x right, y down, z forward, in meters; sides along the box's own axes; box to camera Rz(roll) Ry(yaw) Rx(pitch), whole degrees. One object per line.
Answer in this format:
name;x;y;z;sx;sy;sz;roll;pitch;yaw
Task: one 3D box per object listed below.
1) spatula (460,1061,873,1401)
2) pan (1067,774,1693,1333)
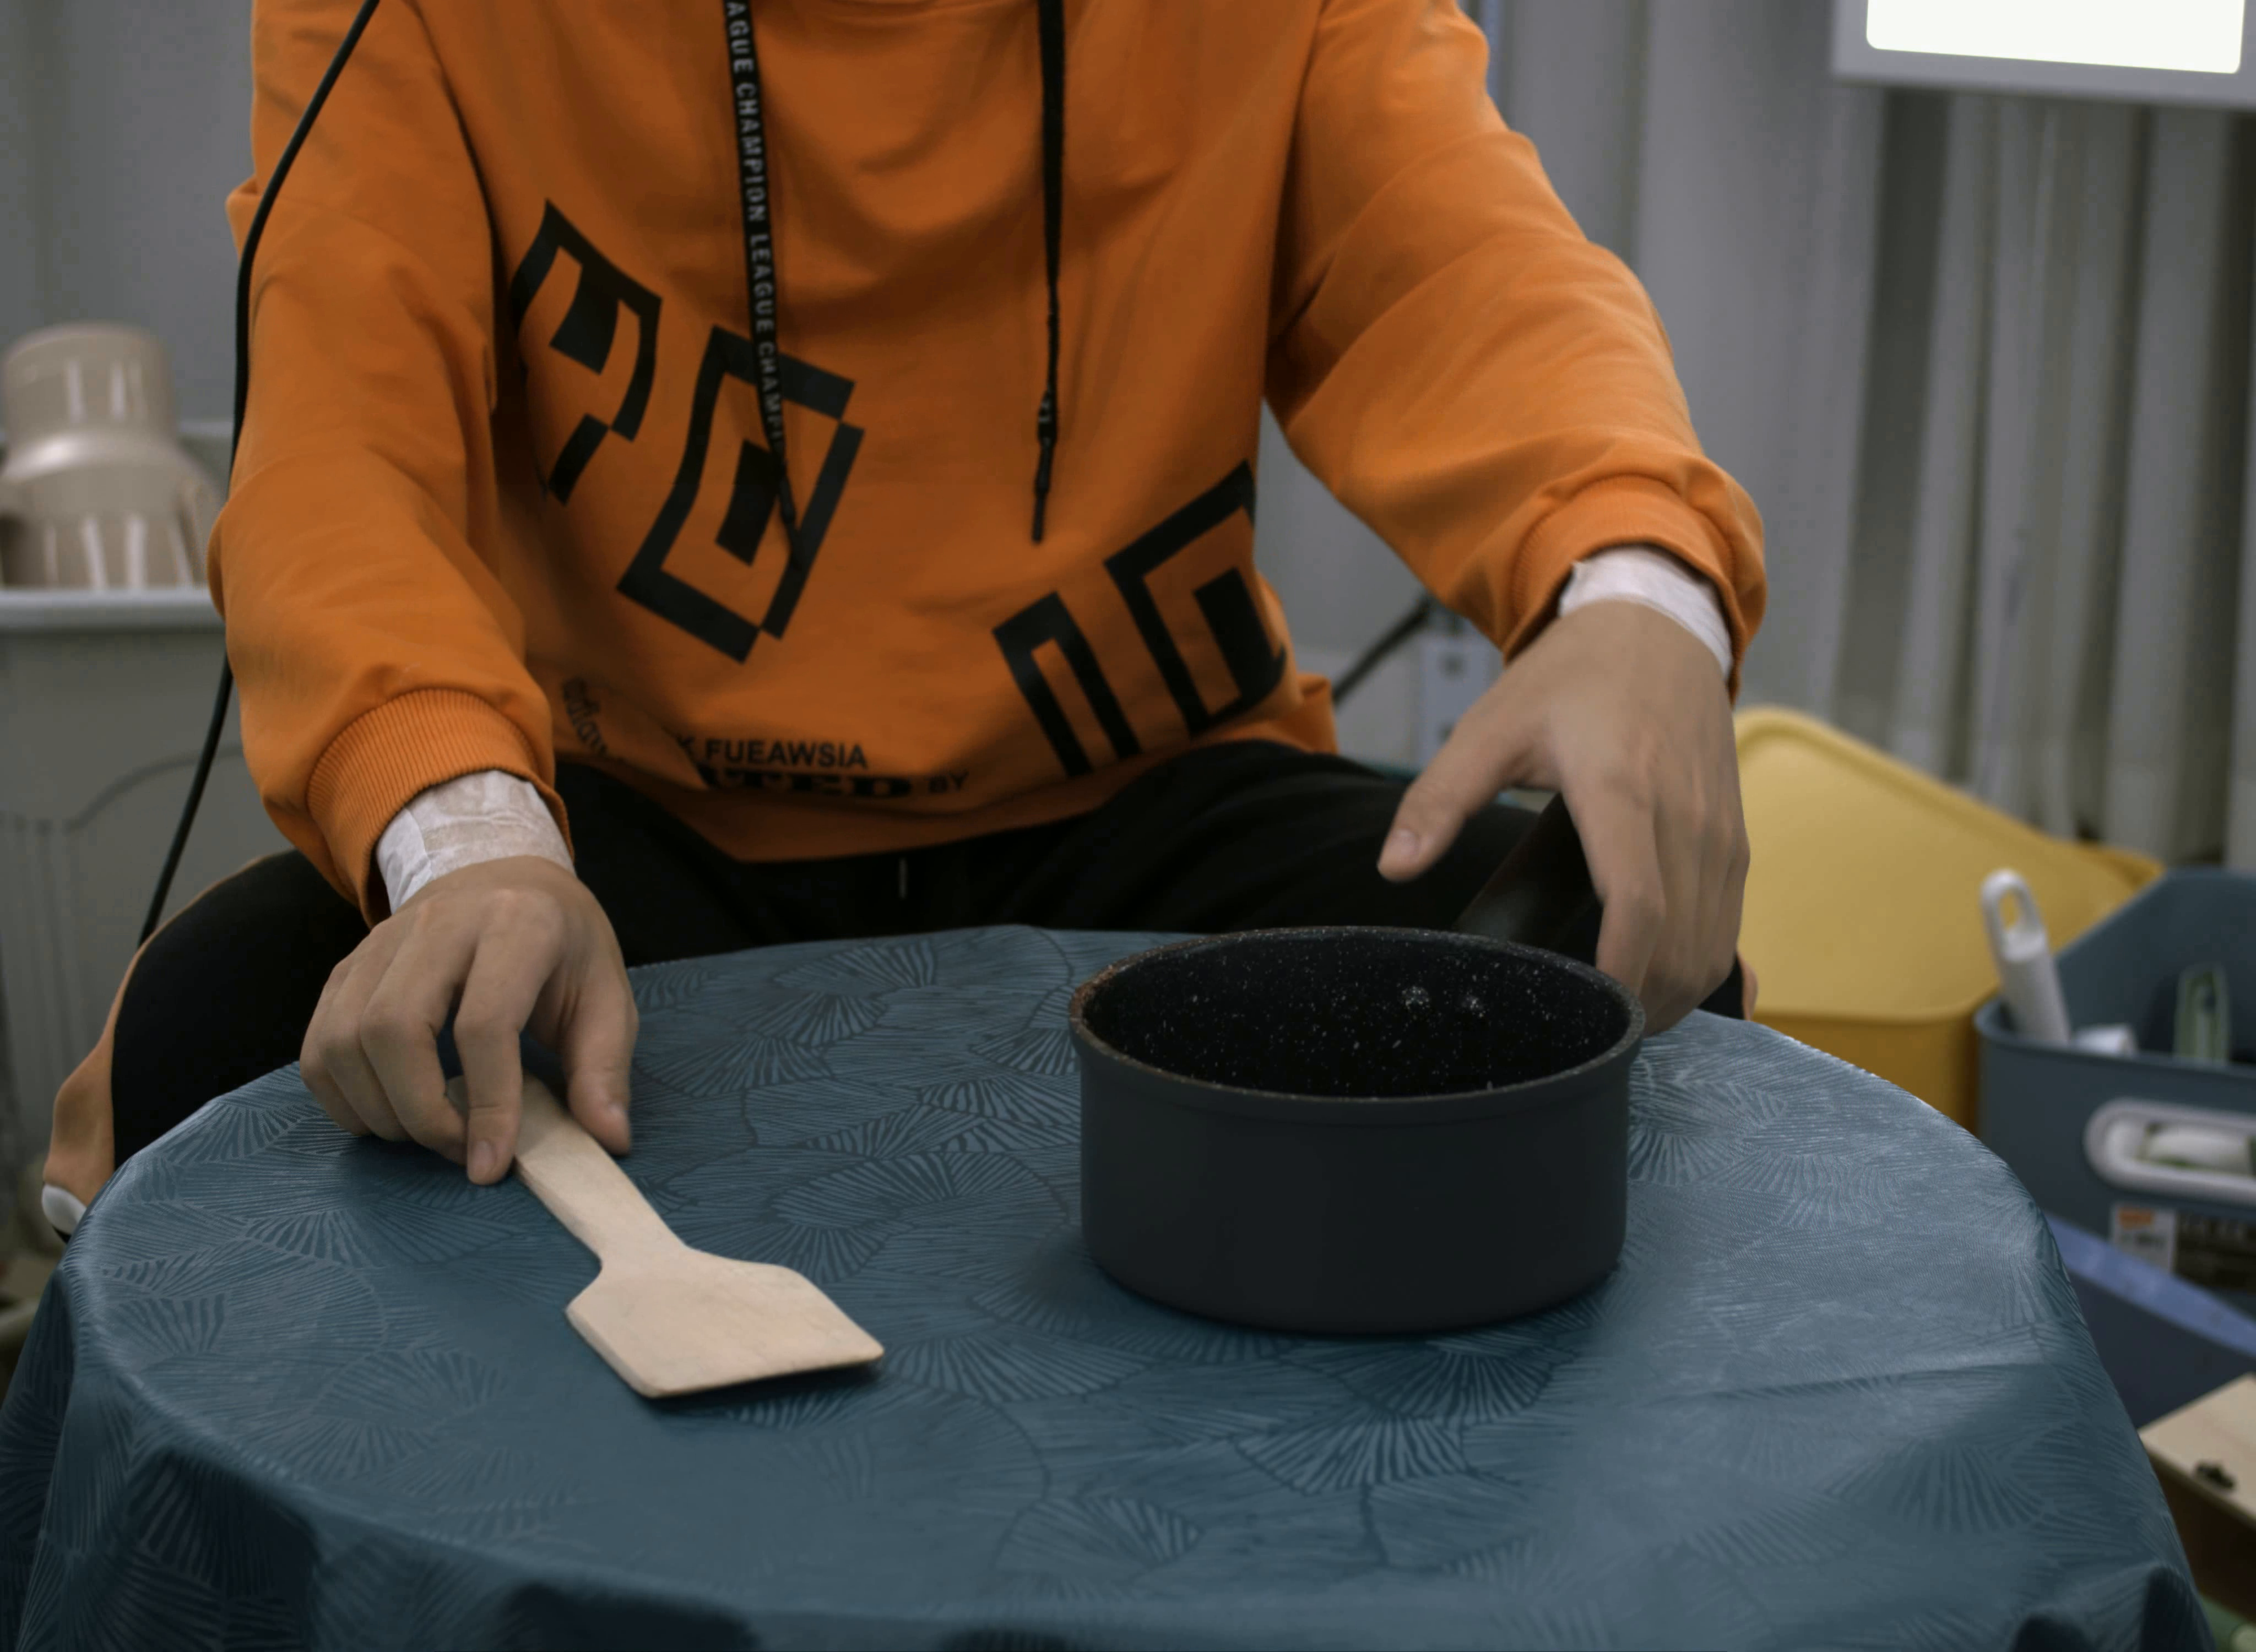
spatula;-0.155;0.117;1.582;0.072;0.011;0.289;-9;18;-20
pan;0.101;0.066;1.633;0.170;0.087;0.329;9;19;24
